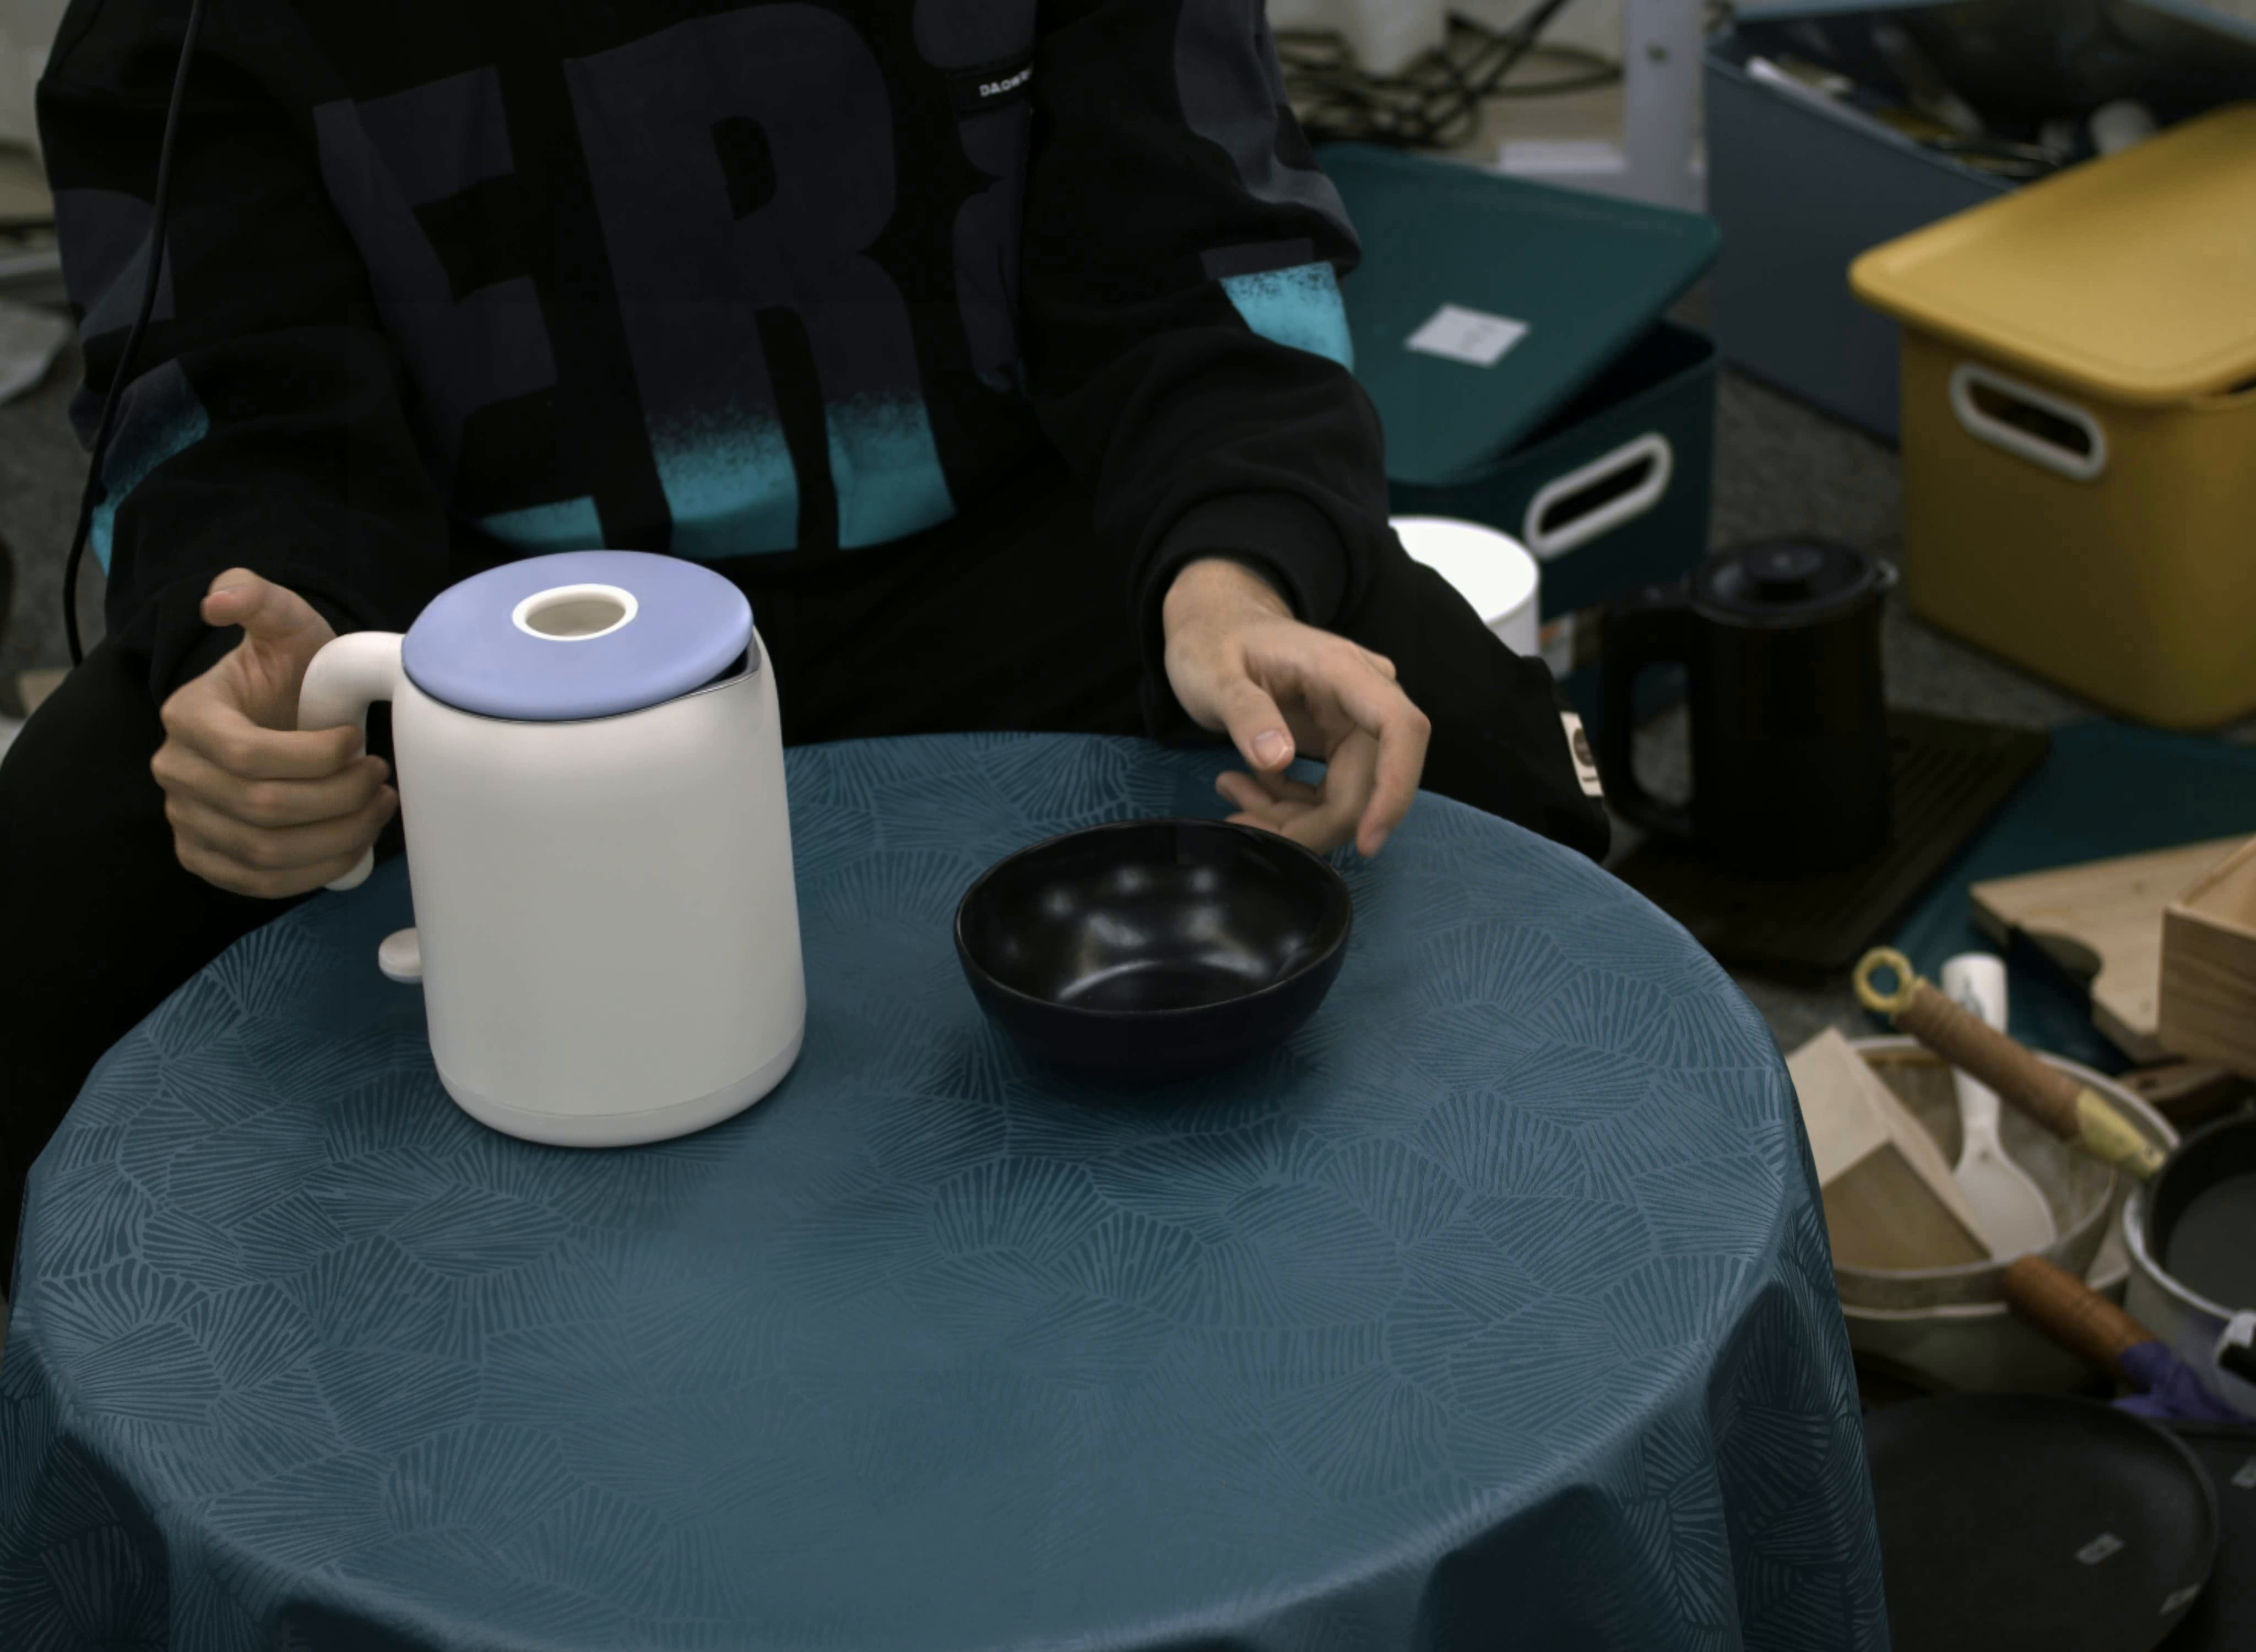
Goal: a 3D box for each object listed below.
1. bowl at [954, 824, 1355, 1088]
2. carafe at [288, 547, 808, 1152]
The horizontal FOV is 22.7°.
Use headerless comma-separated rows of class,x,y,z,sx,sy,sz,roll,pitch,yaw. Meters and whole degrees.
bowl,0.011,0.052,1.941,0.139,0.049,0.142,-3,26,2
carafe,-0.202,0.005,1.922,0.189,0.181,0.134,6,27,23
